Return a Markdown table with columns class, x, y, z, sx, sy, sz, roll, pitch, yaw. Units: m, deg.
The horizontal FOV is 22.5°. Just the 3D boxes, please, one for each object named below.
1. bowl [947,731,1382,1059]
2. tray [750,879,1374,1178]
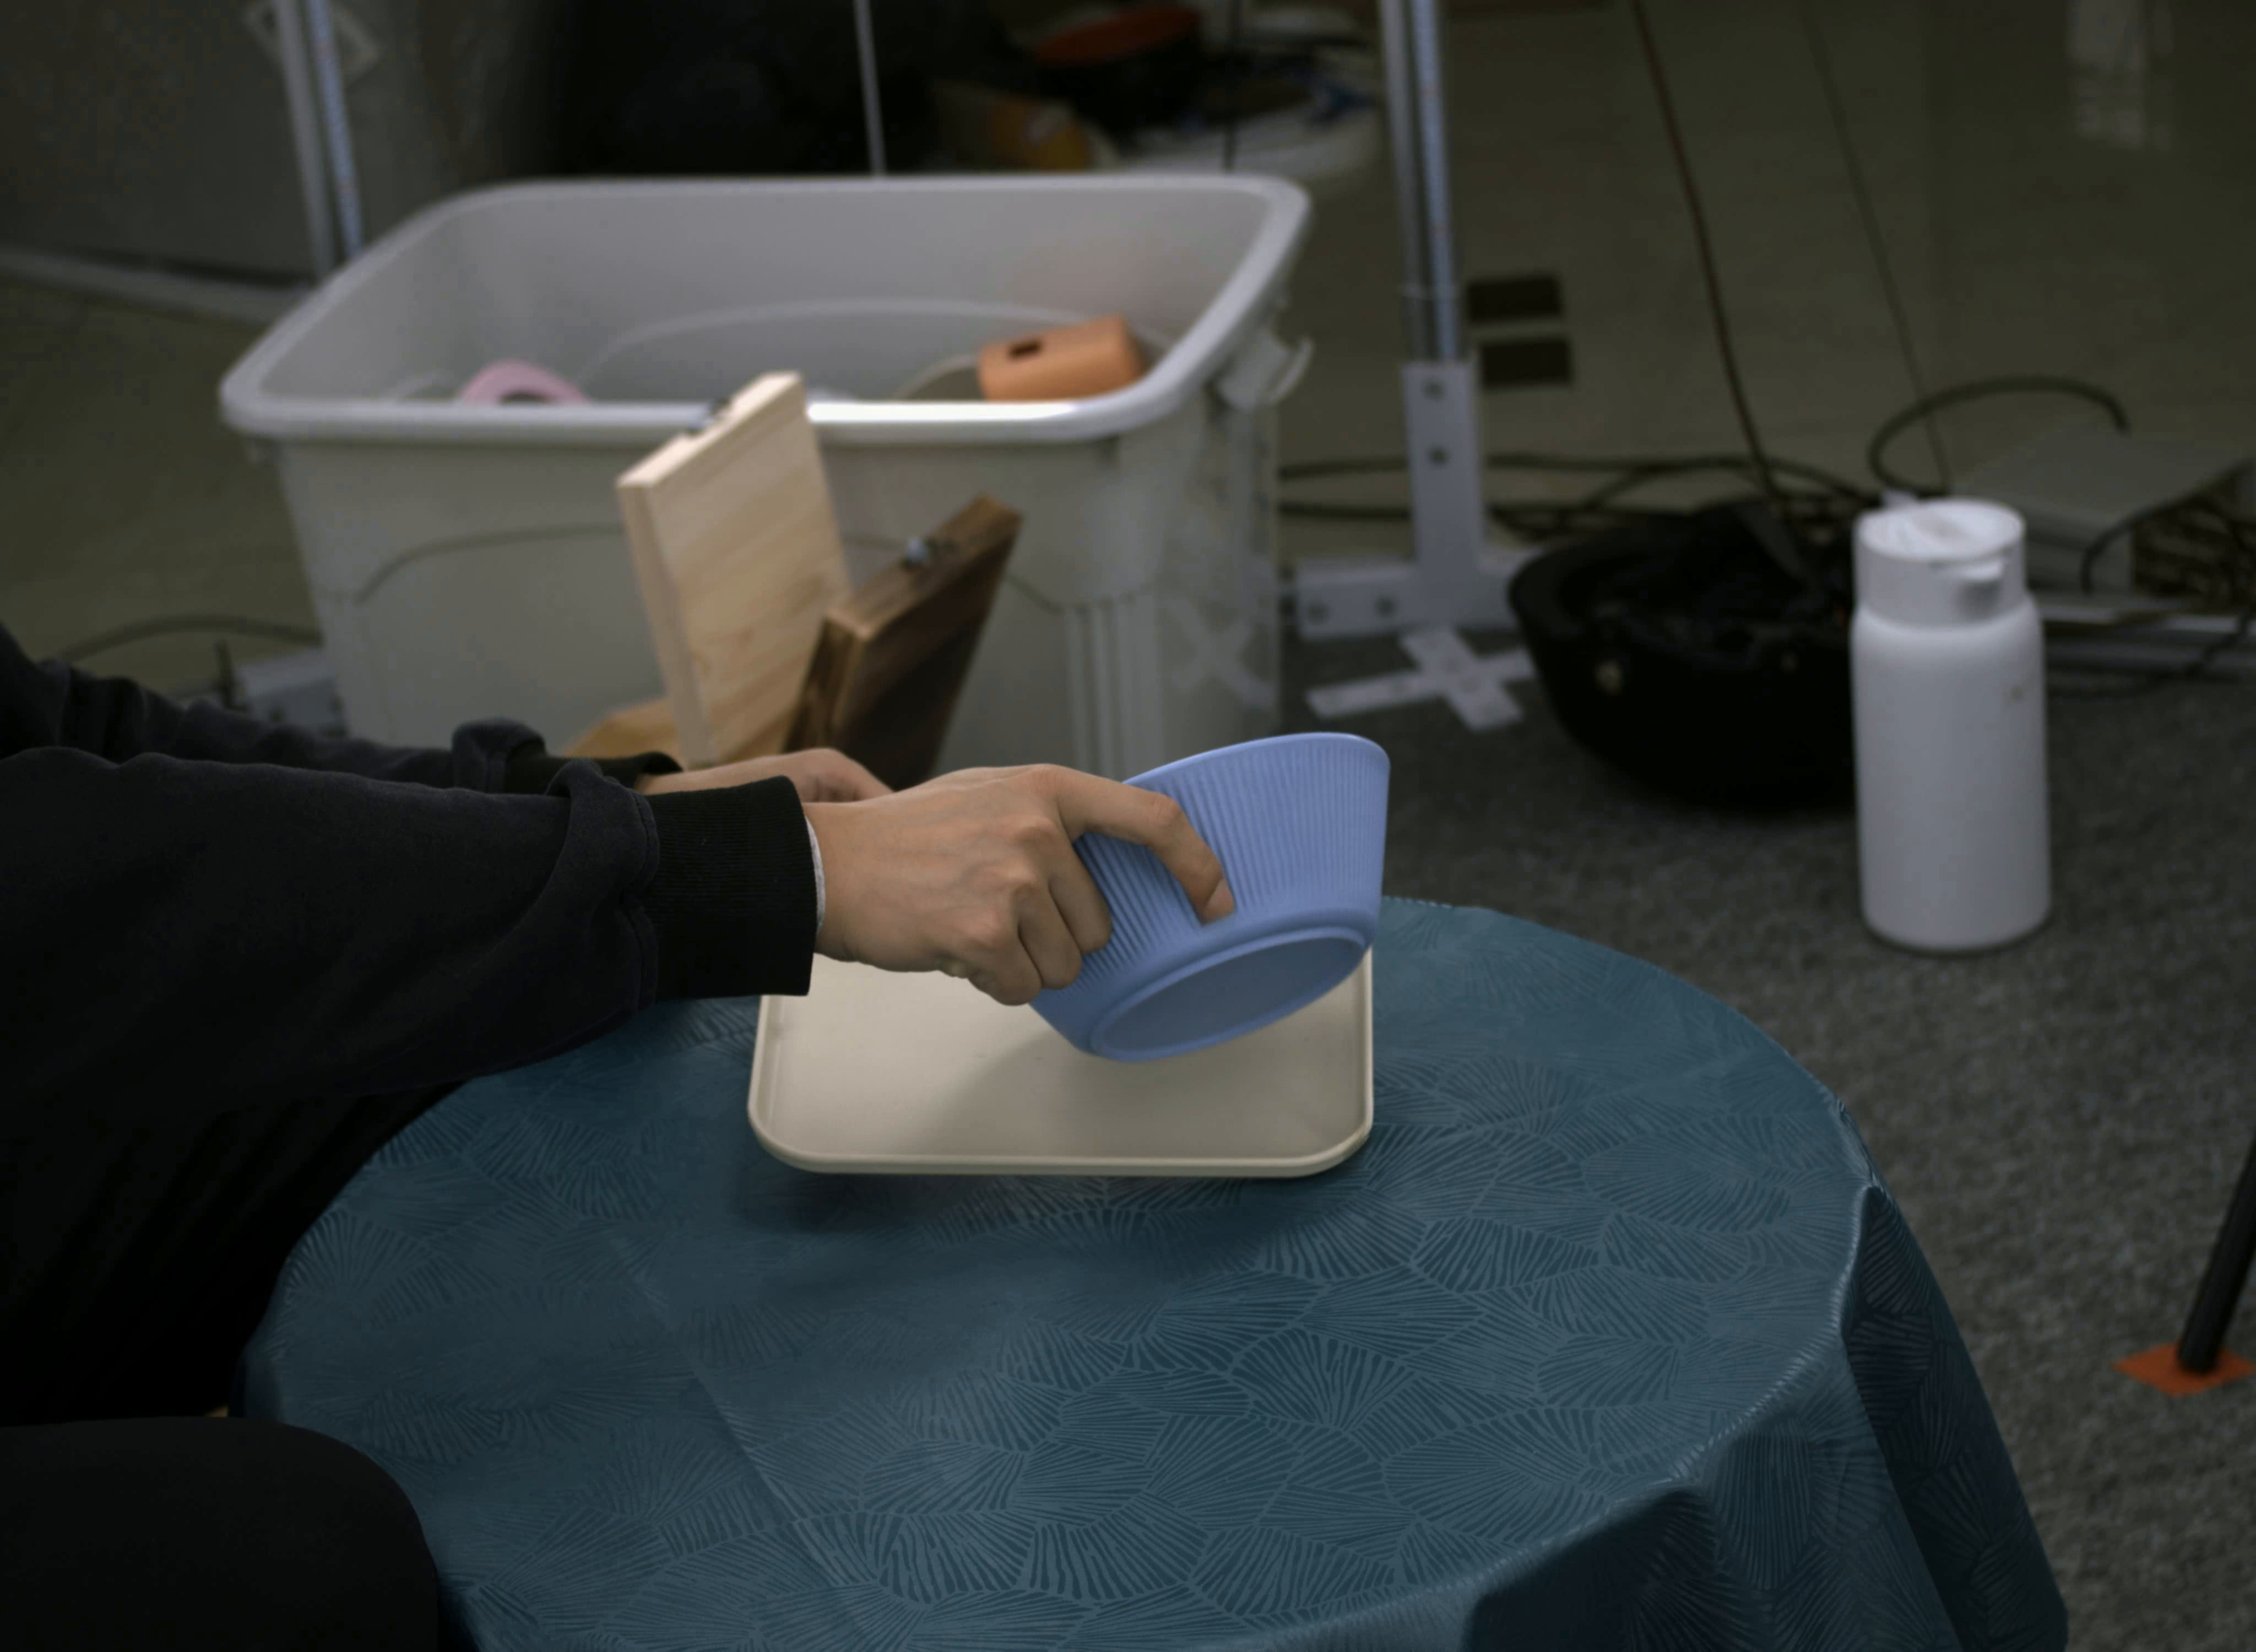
| class | x | y | z | sx | sy | sz | roll | pitch | yaw |
| --- | --- | --- | --- | --- | --- | --- | --- | --- | --- |
| bowl | 0.024 | 0.033 | 2.127 | 0.175 | 0.069 | 0.178 | -19 | -17 | -6 |
| tray | -0.024 | 0.080 | 2.205 | 0.239 | 0.018 | 0.168 | 0 | 40 | 2 |
